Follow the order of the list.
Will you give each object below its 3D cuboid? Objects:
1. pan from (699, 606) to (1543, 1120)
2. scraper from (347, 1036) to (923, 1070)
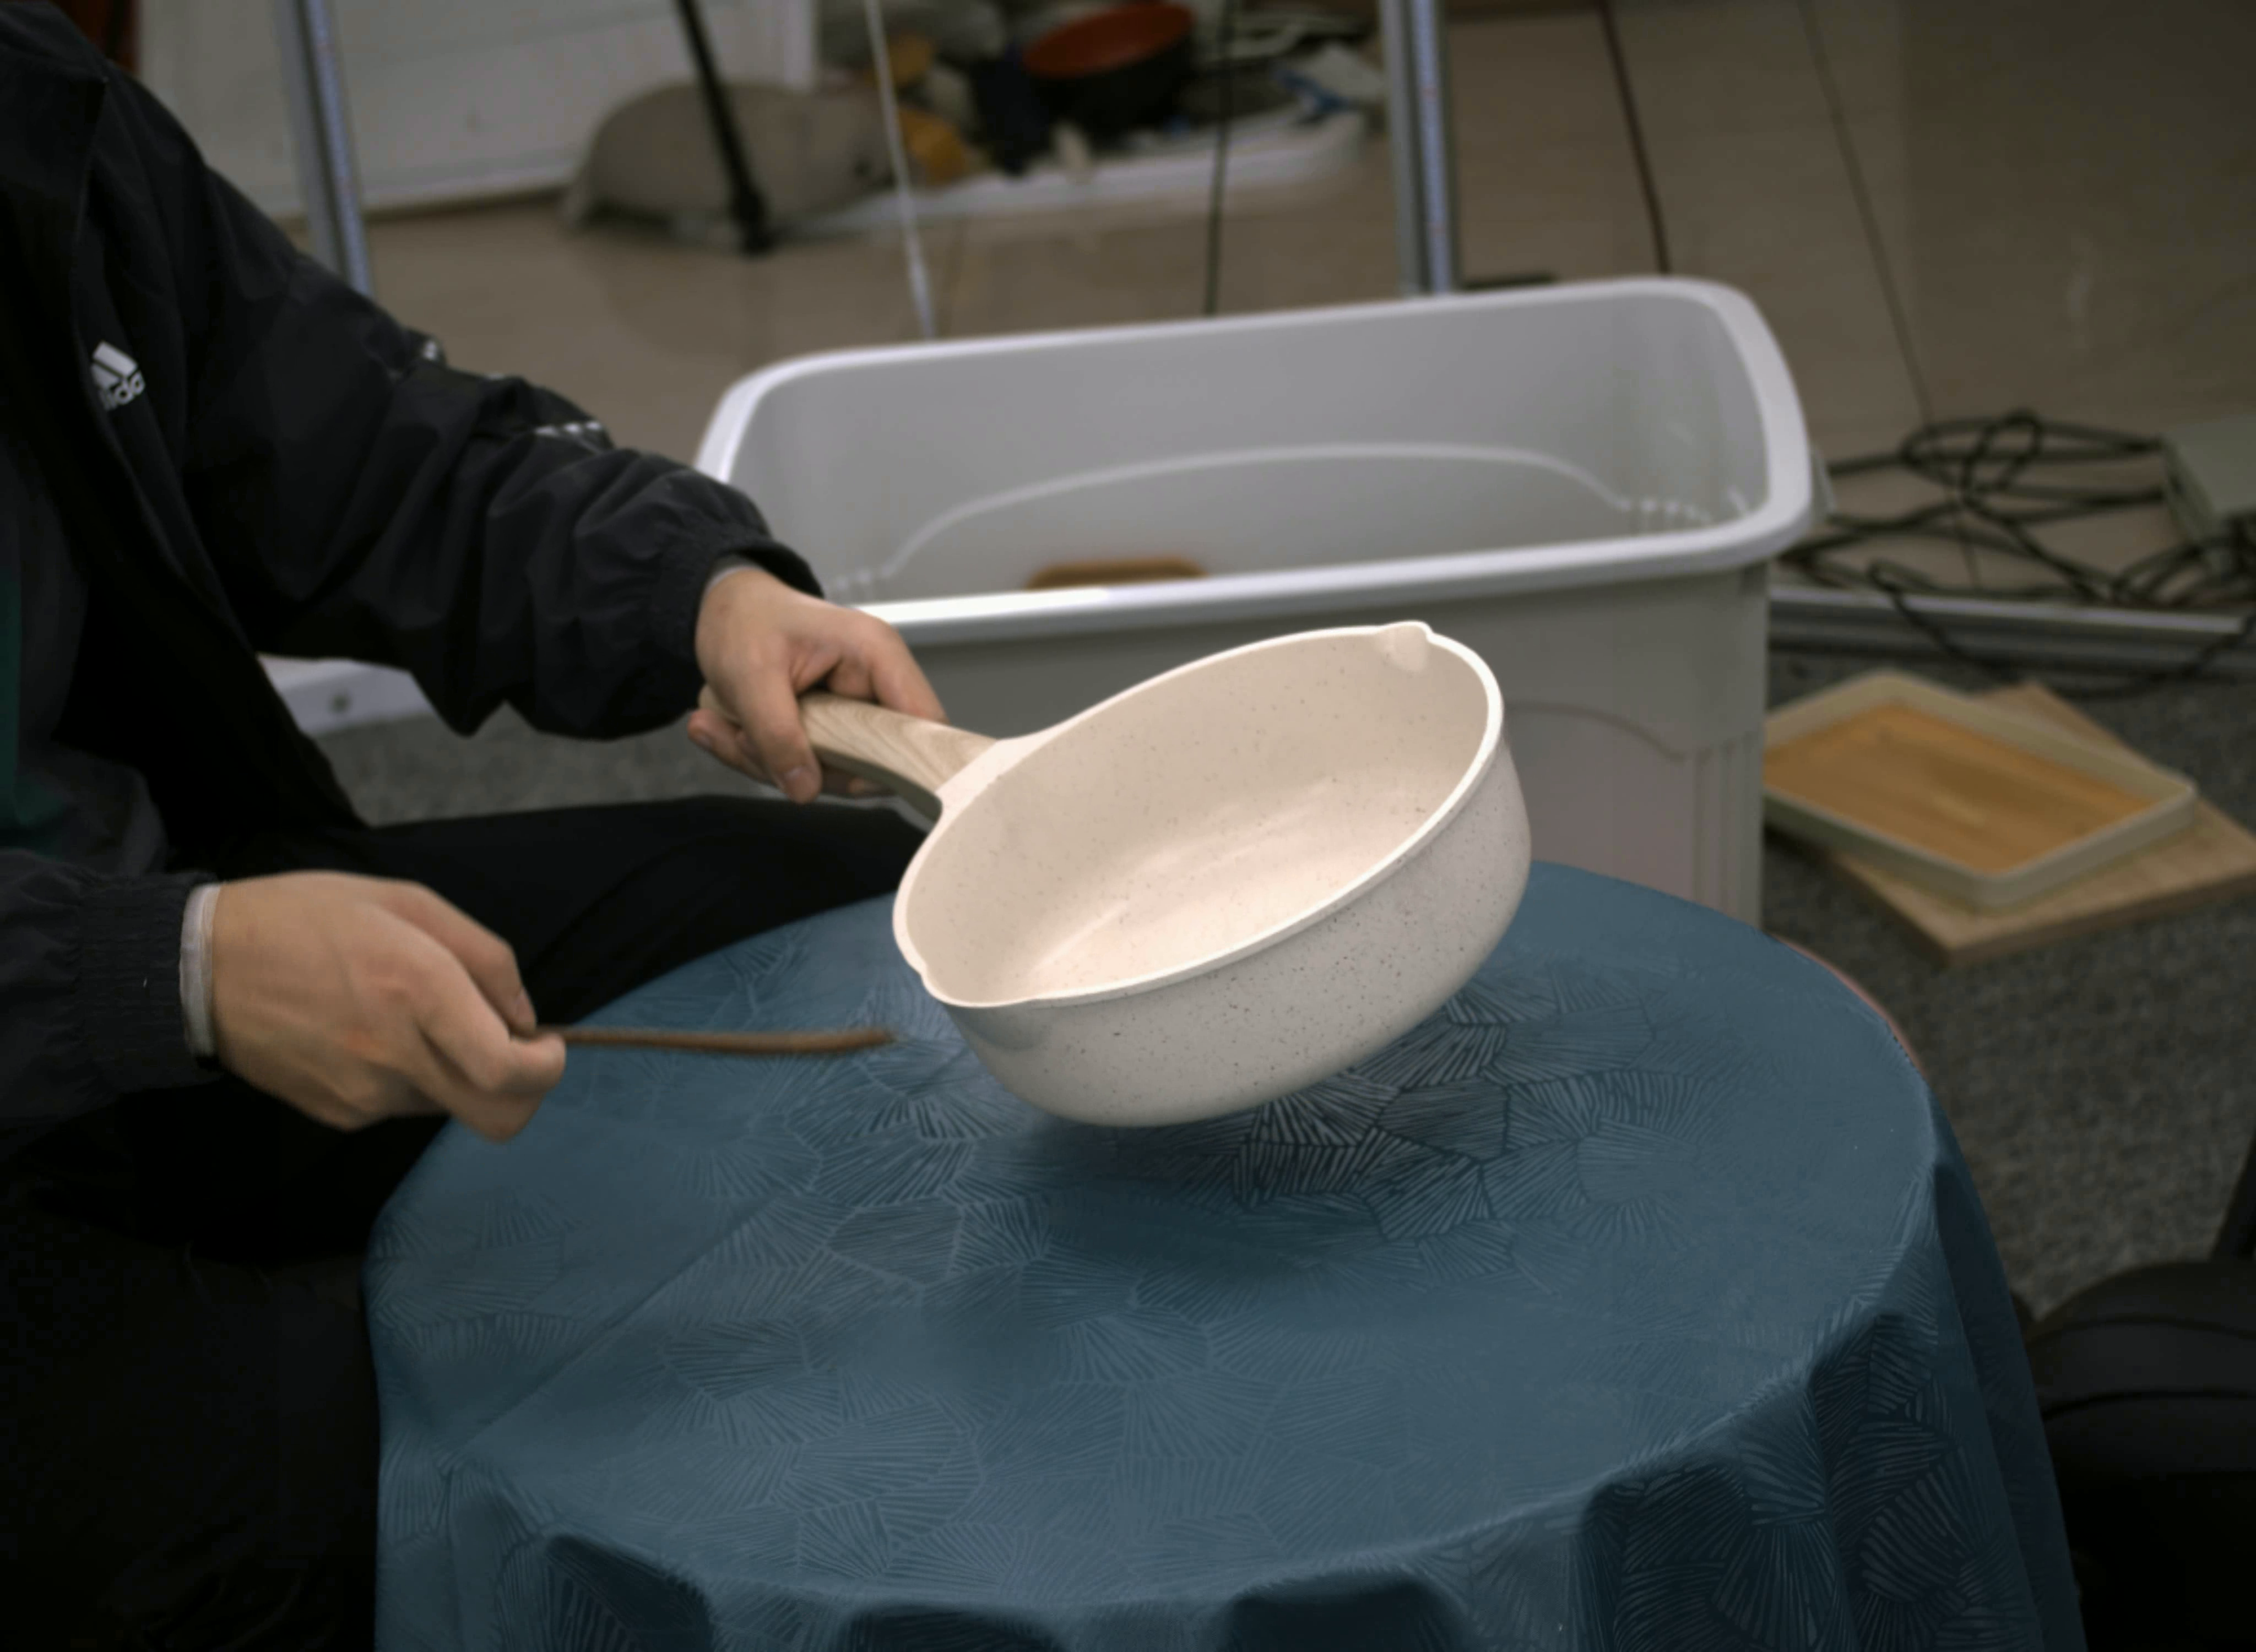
[{"bbox_3d":[-0.017,0.006,2.246,0.261,0.103,0.433,-42,30,-28],"label":"pan"},{"bbox_3d":[-0.180,0.082,2.067,0.211,0.011,0.076,1,1,5],"label":"scraper"}]
